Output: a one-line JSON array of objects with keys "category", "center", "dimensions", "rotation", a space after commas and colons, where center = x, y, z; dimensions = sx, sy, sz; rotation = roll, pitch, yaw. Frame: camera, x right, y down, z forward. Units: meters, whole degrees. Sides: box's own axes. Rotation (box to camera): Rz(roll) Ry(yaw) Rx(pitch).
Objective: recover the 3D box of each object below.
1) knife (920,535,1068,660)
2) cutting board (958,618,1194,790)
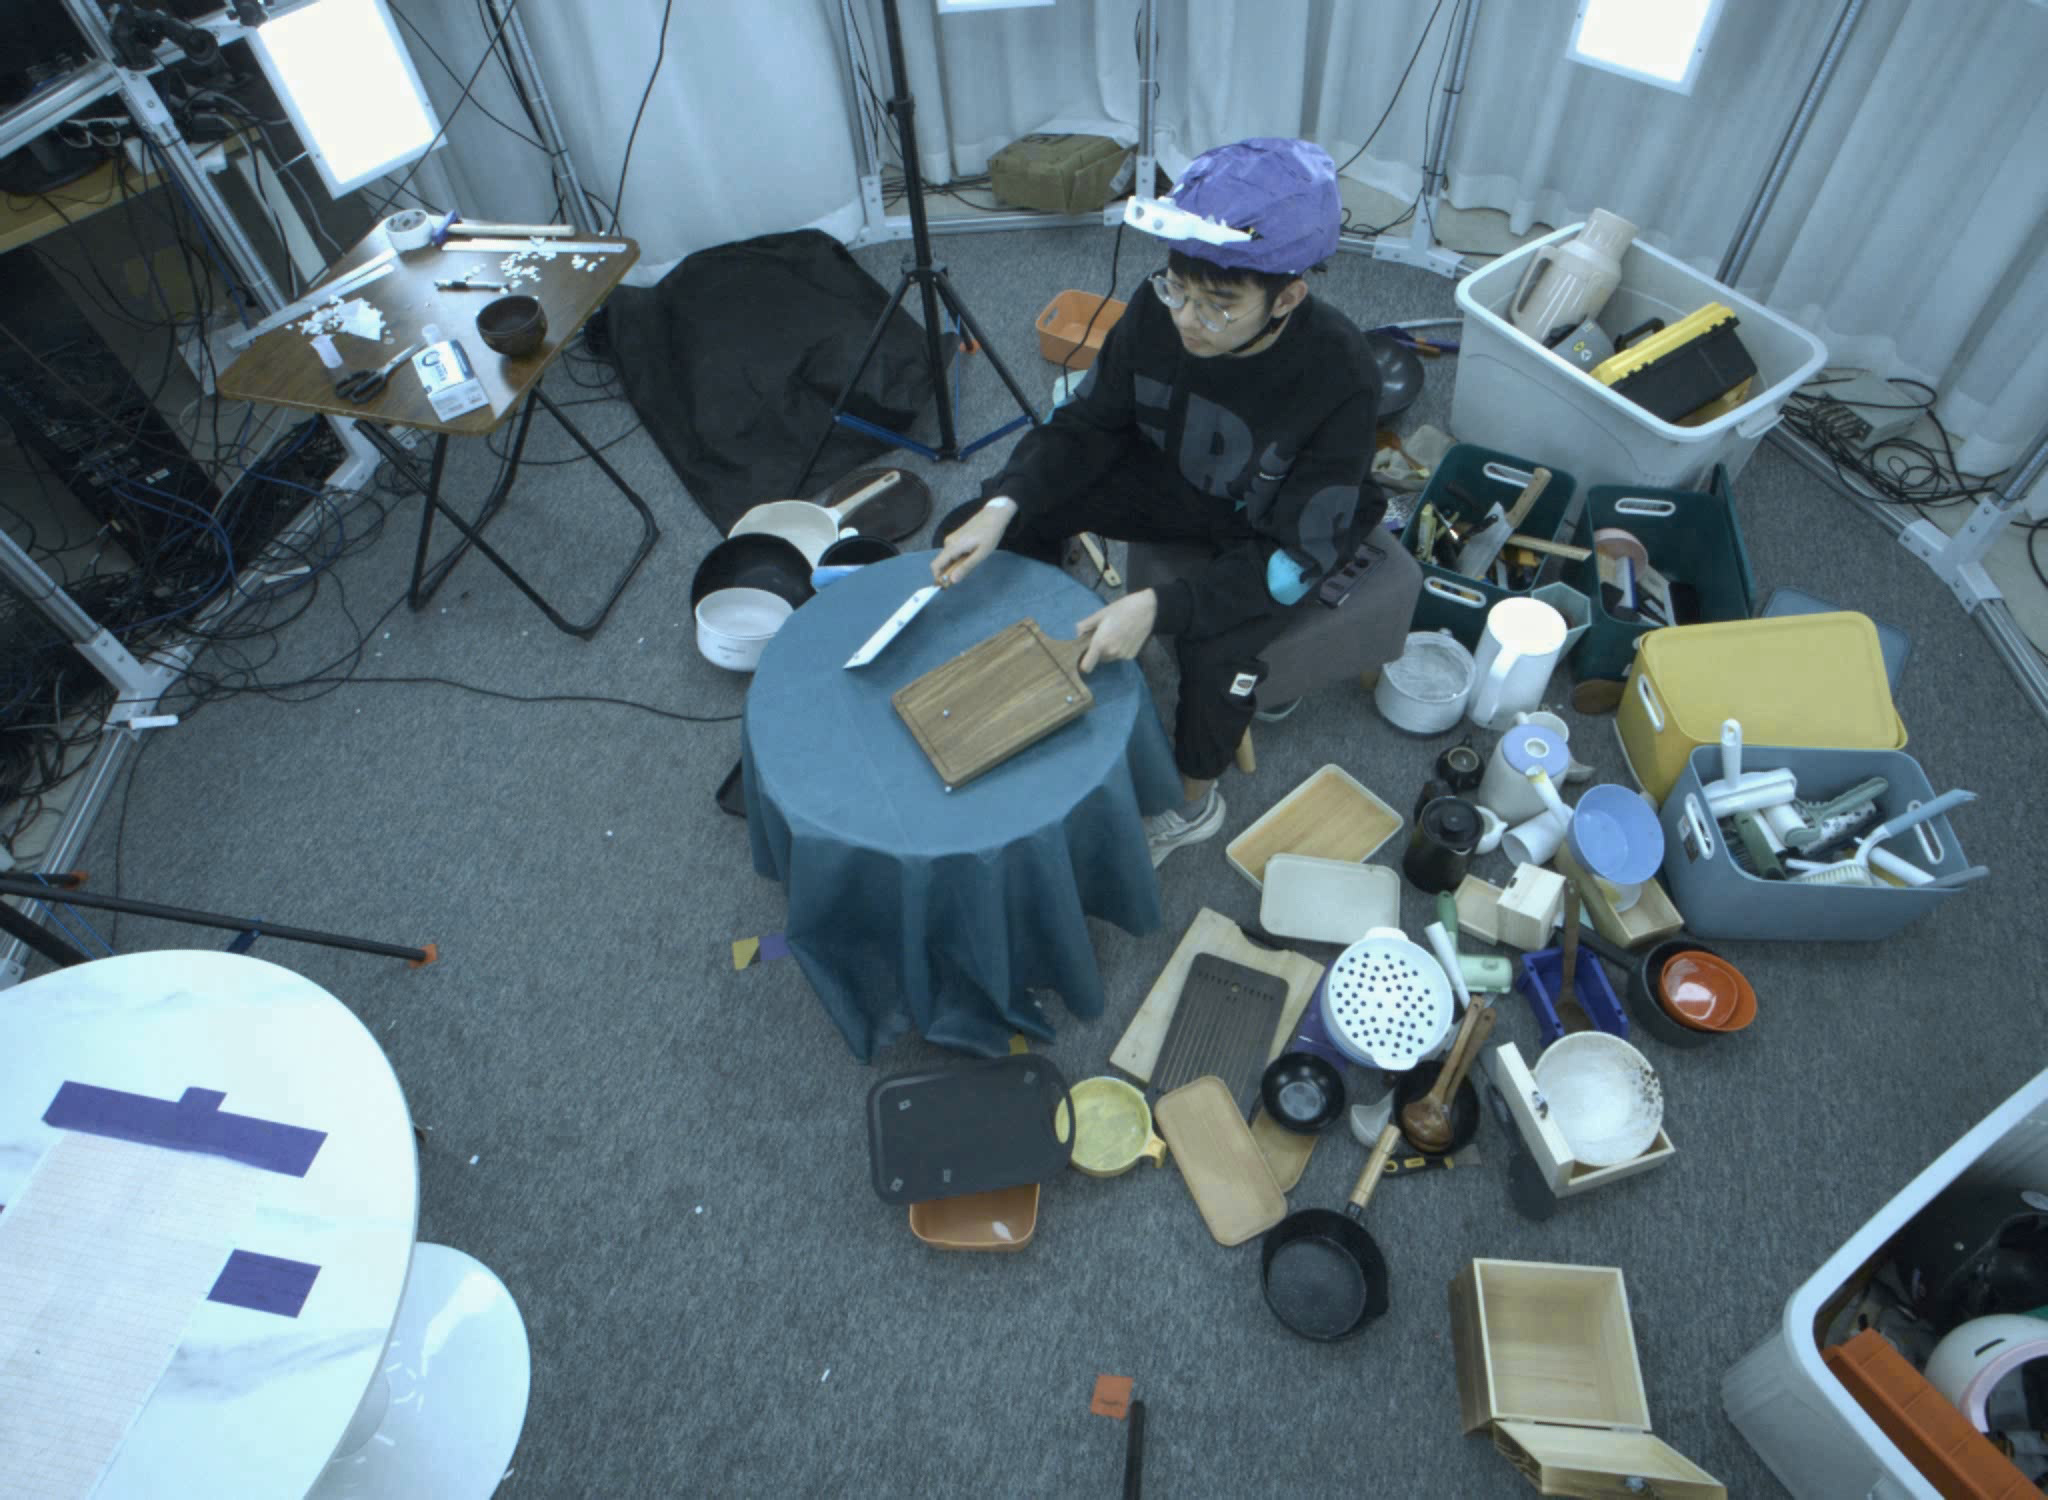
[{"category": "knife", "center": [-0.051, -0.239, 1.917], "dimensions": [0.307, 0.021, 0.091], "rotation": [-46, 24, -24]}, {"category": "cutting board", "center": [0.096, -0.094, 1.811], "dimensions": [0.353, 0.023, 0.197], "rotation": [-28, 58, -8]}]
